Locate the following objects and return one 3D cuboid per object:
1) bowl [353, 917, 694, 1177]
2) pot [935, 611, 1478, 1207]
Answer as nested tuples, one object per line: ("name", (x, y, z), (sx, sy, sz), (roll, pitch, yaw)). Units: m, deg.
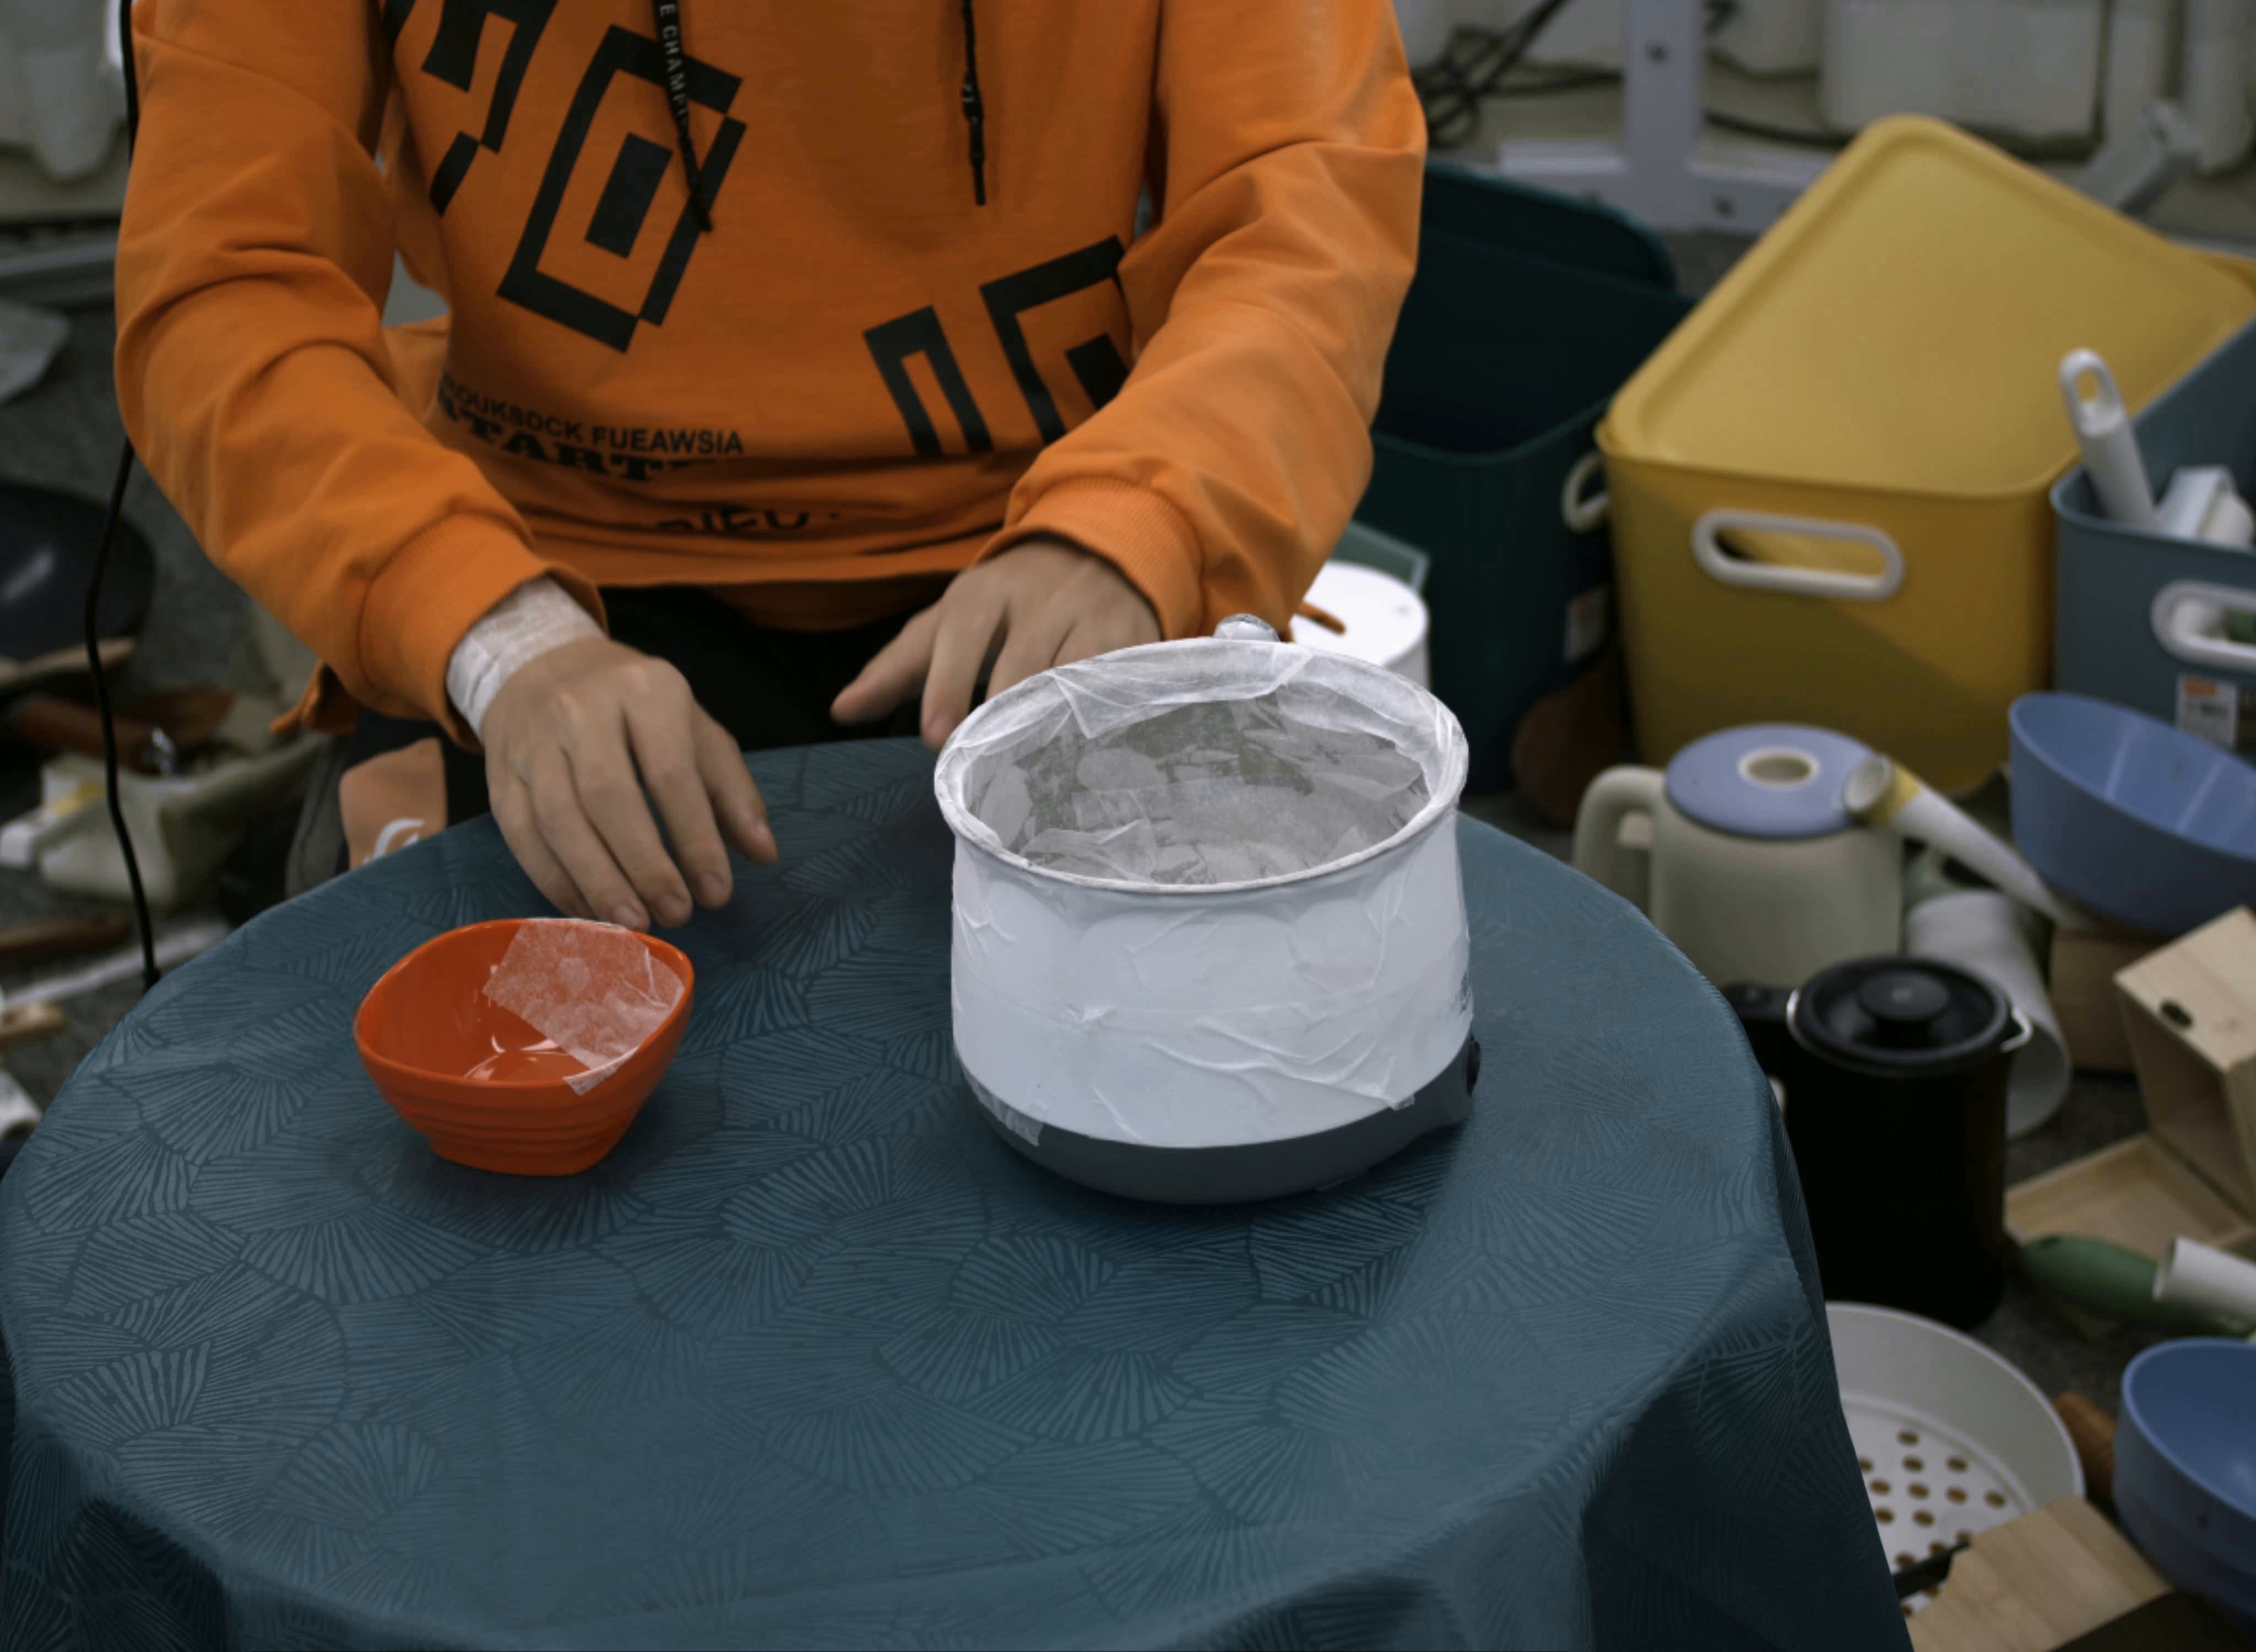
("bowl", (-0.202, 0.080, 1.908), (0.118, 0.051, 0.121), (-3, 28, 2))
("pot", (0.031, 0.021, 1.906), (0.177, 0.135, 0.237), (1, 28, 7))
